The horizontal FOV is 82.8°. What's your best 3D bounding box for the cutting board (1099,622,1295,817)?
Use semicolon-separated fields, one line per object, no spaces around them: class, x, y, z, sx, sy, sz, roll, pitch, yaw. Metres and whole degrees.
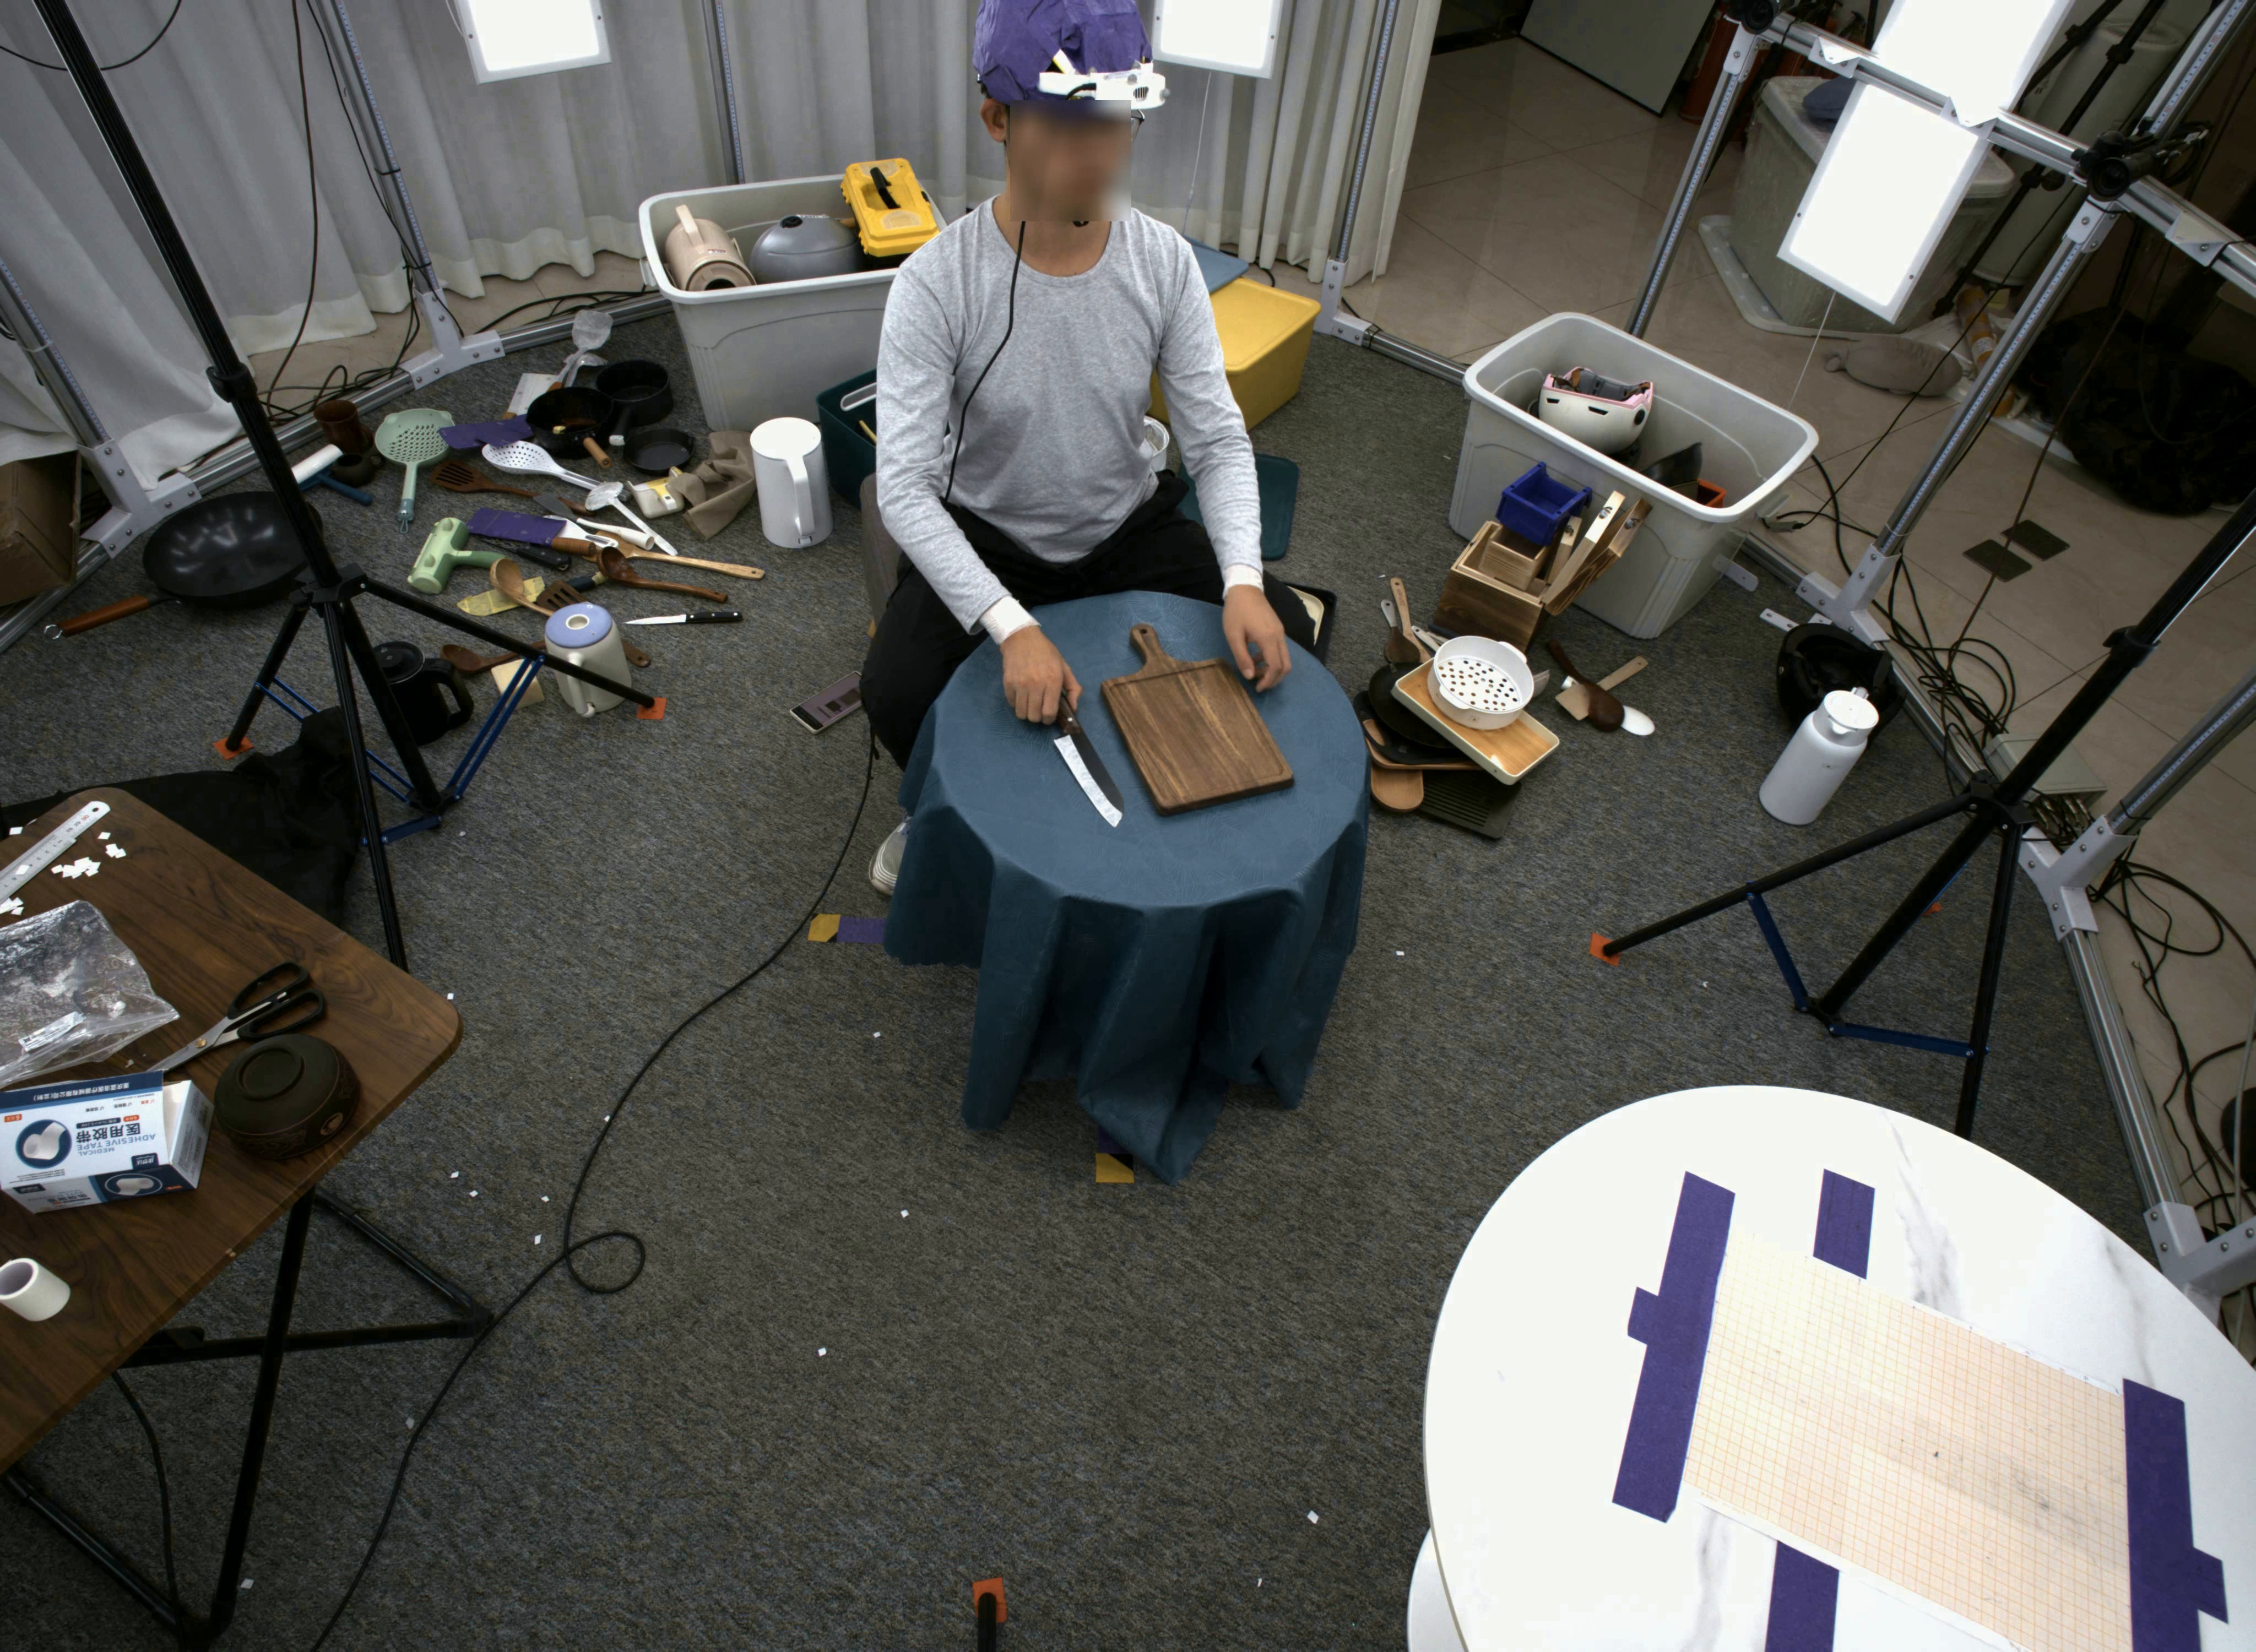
cutting board;0.076;-0.167;1.803;0.201;0.022;0.360;-13;51;-15

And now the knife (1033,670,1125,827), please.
knife;-0.069;-0.108;1.746;0.050;0.019;0.296;-18;55;-14
